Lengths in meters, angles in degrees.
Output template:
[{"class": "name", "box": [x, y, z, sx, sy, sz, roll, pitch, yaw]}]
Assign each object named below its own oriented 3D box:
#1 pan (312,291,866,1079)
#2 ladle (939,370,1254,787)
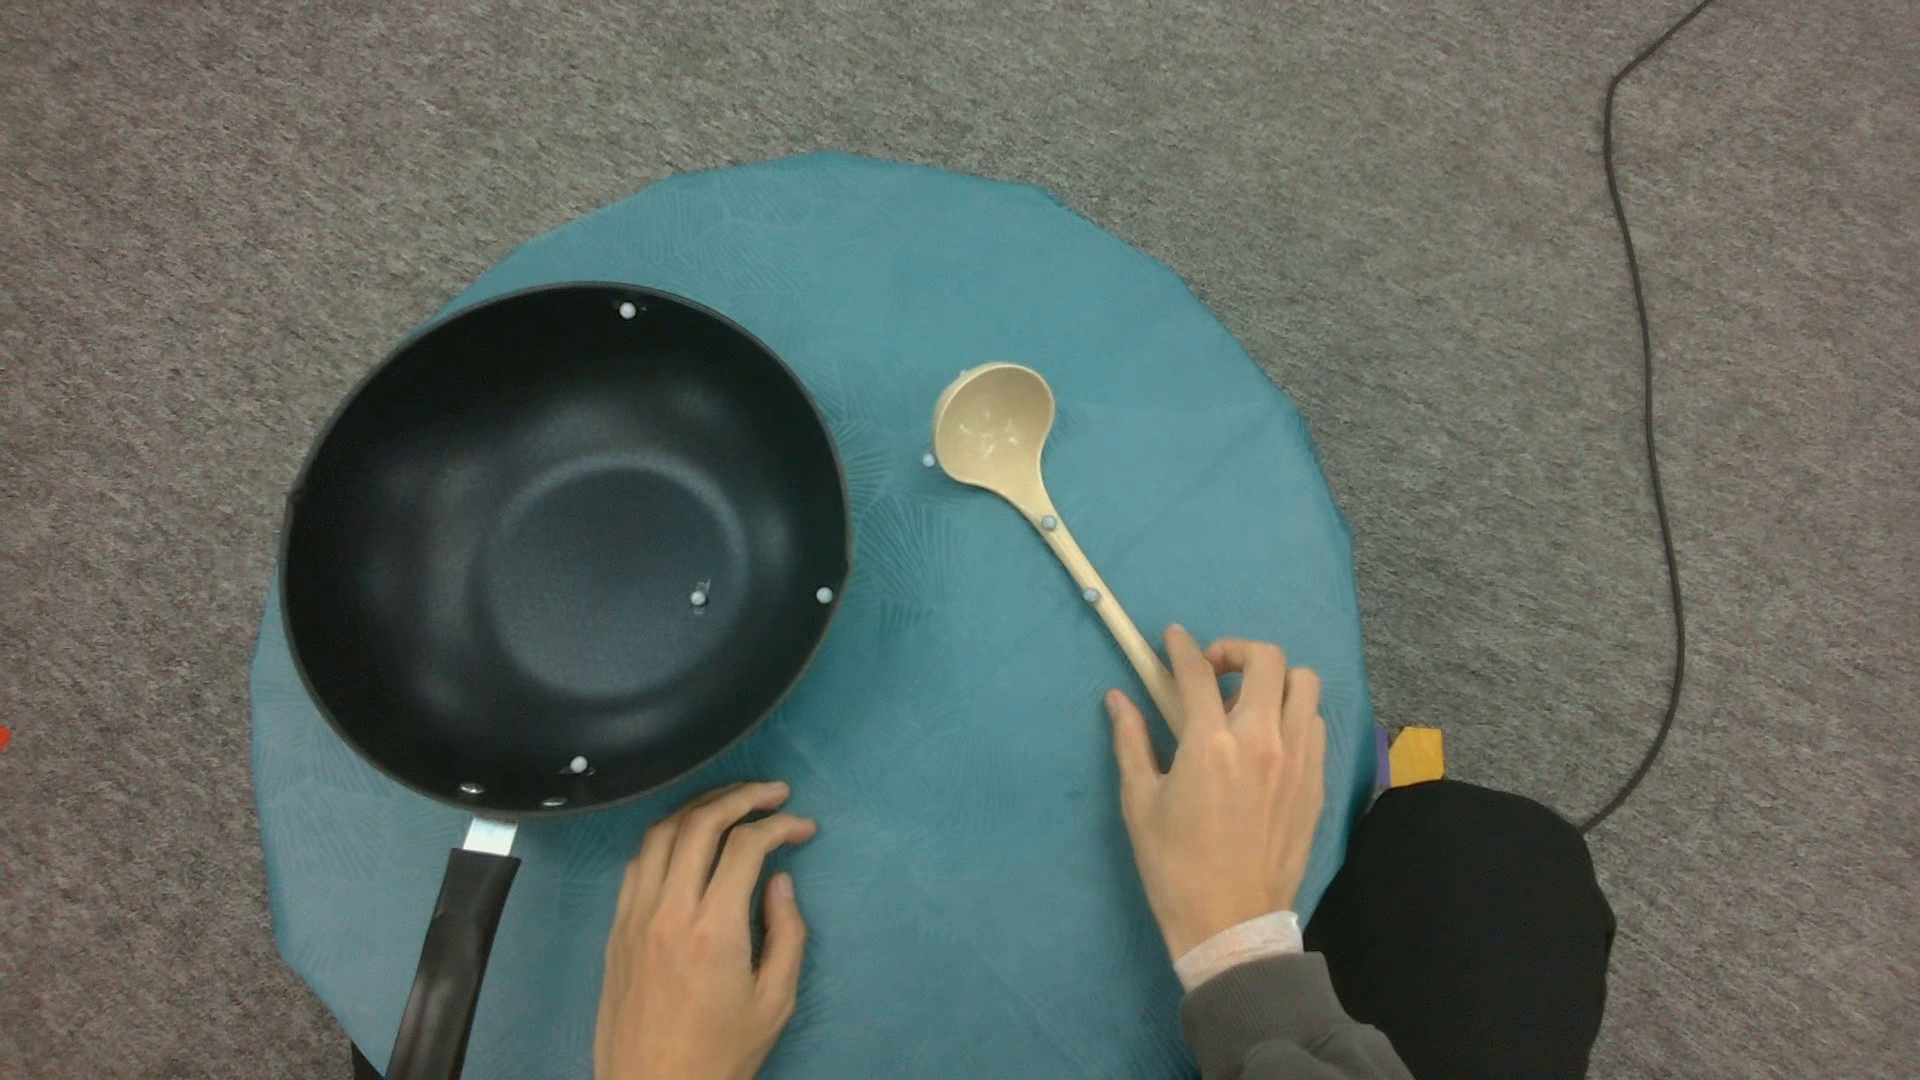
[{"class": "pan", "box": [-0.203, 0.097, 0.705, 0.288, 0.086, 0.464, 8, 72, 5]}, {"class": "ladle", "box": [0.077, 0.017, 0.724, 0.072, 0.072, 0.255, -33, 71, -9]}]
